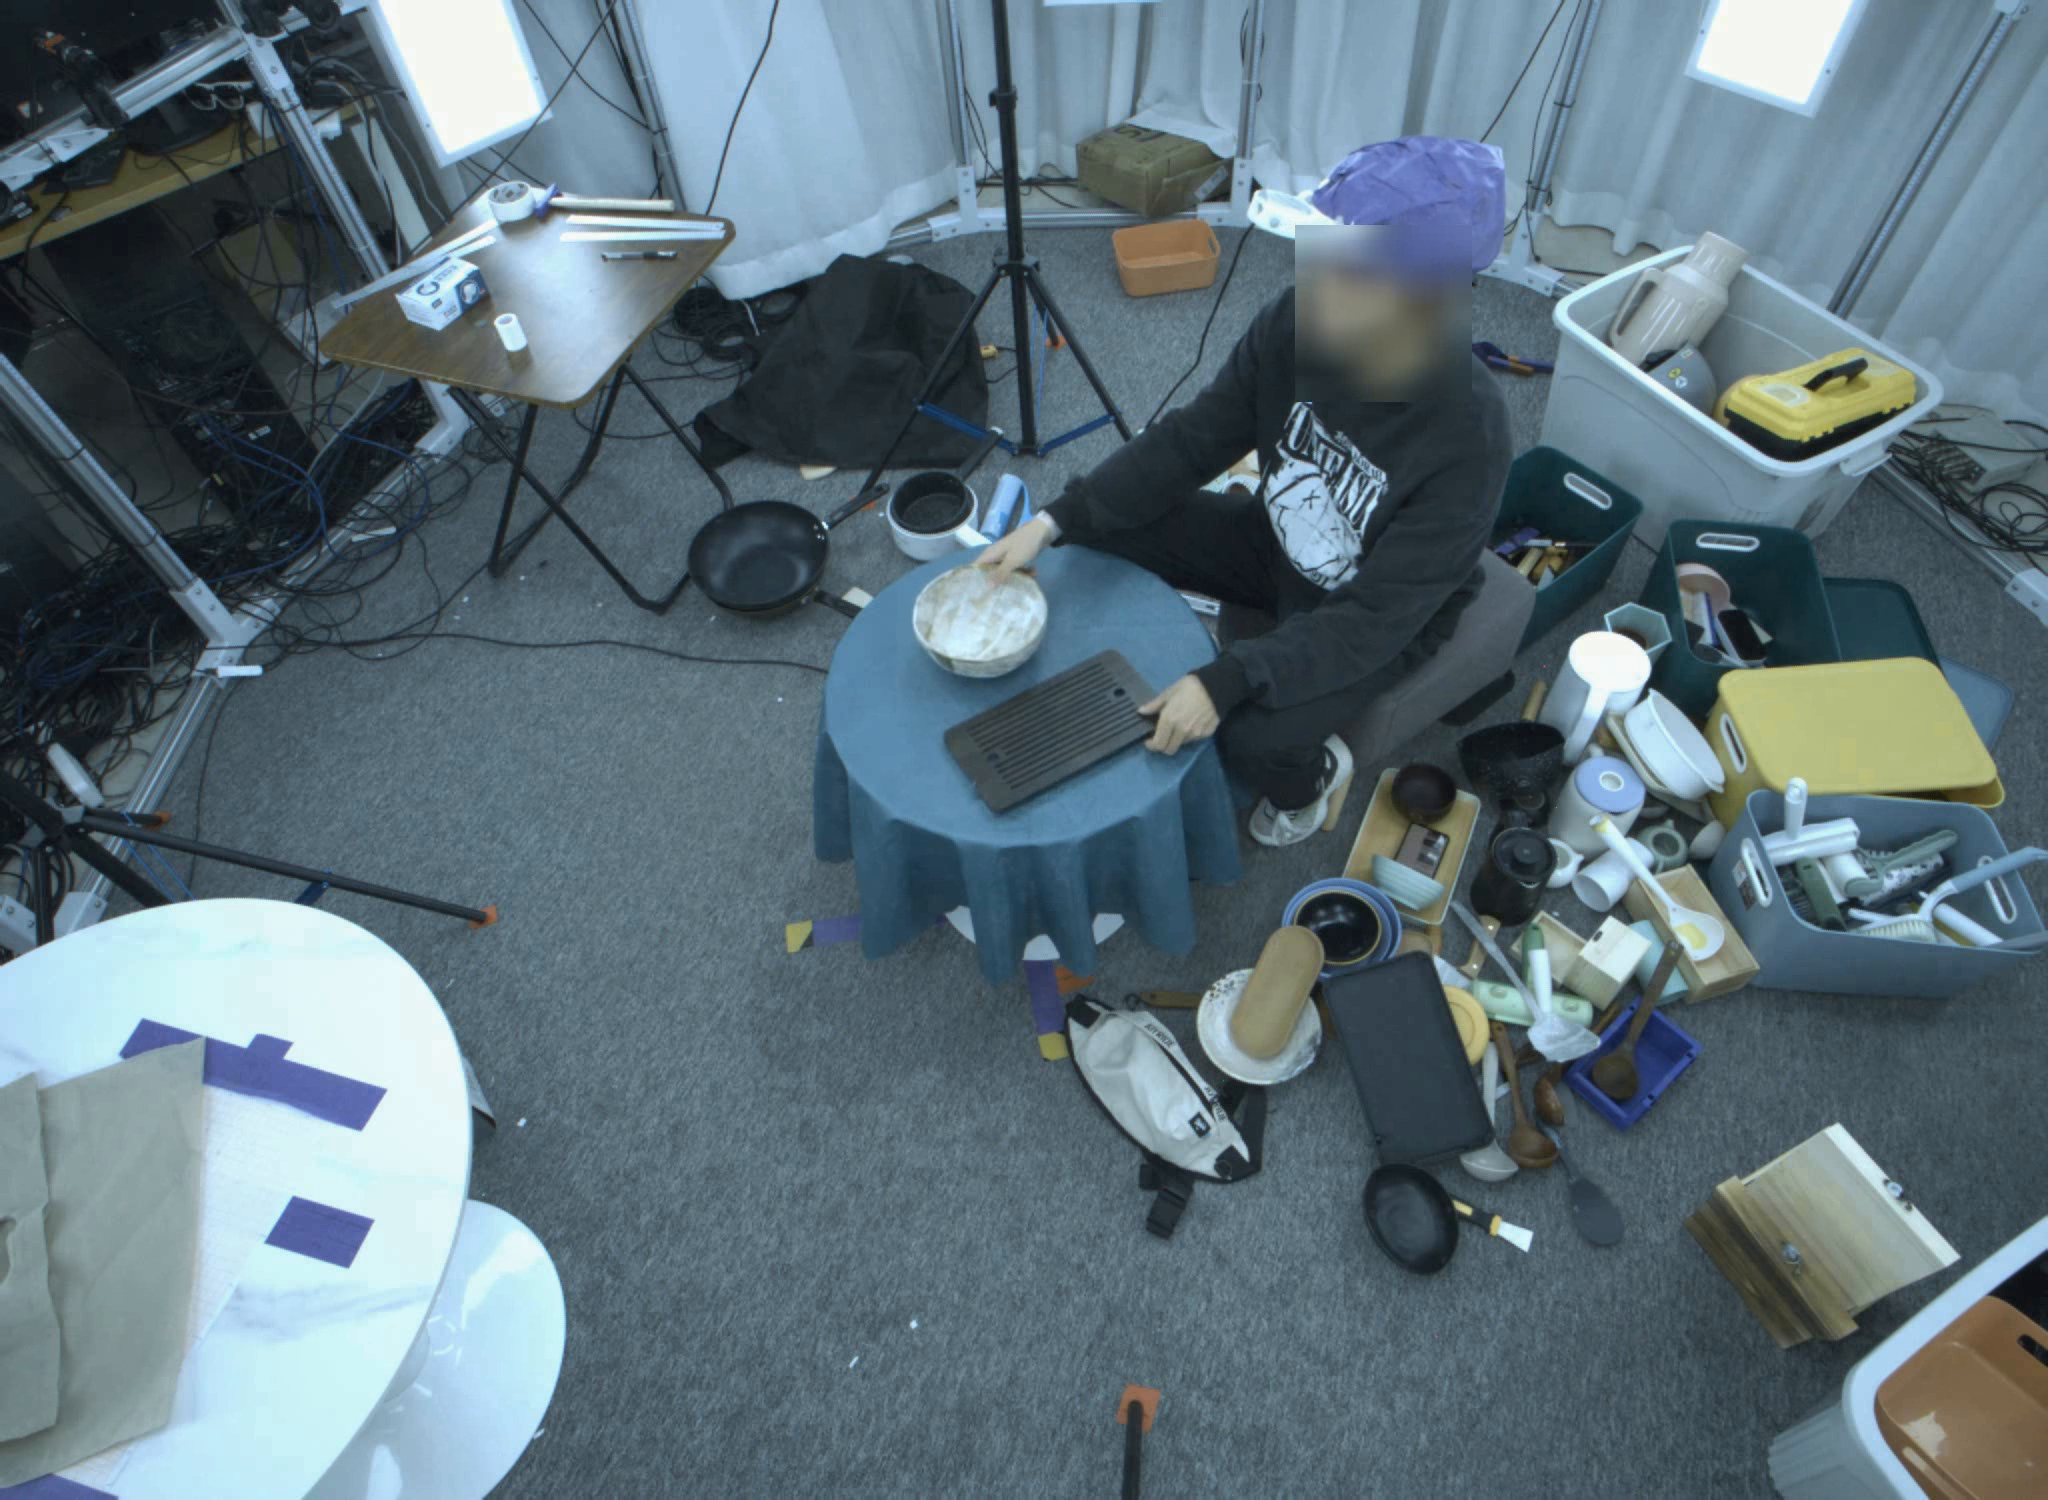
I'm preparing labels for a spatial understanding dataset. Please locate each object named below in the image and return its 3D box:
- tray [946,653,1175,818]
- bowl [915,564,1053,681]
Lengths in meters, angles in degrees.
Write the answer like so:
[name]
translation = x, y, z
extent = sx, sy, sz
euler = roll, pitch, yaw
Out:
[tray]
translation = 0.053, -0.024, 1.800
extent = 0.308, 0.019, 0.167
euler = -27, 57, -17
[bowl]
translation = -0.057, -0.175, 1.866
extent = 0.214, 0.095, 0.212
euler = -1, 54, 2
